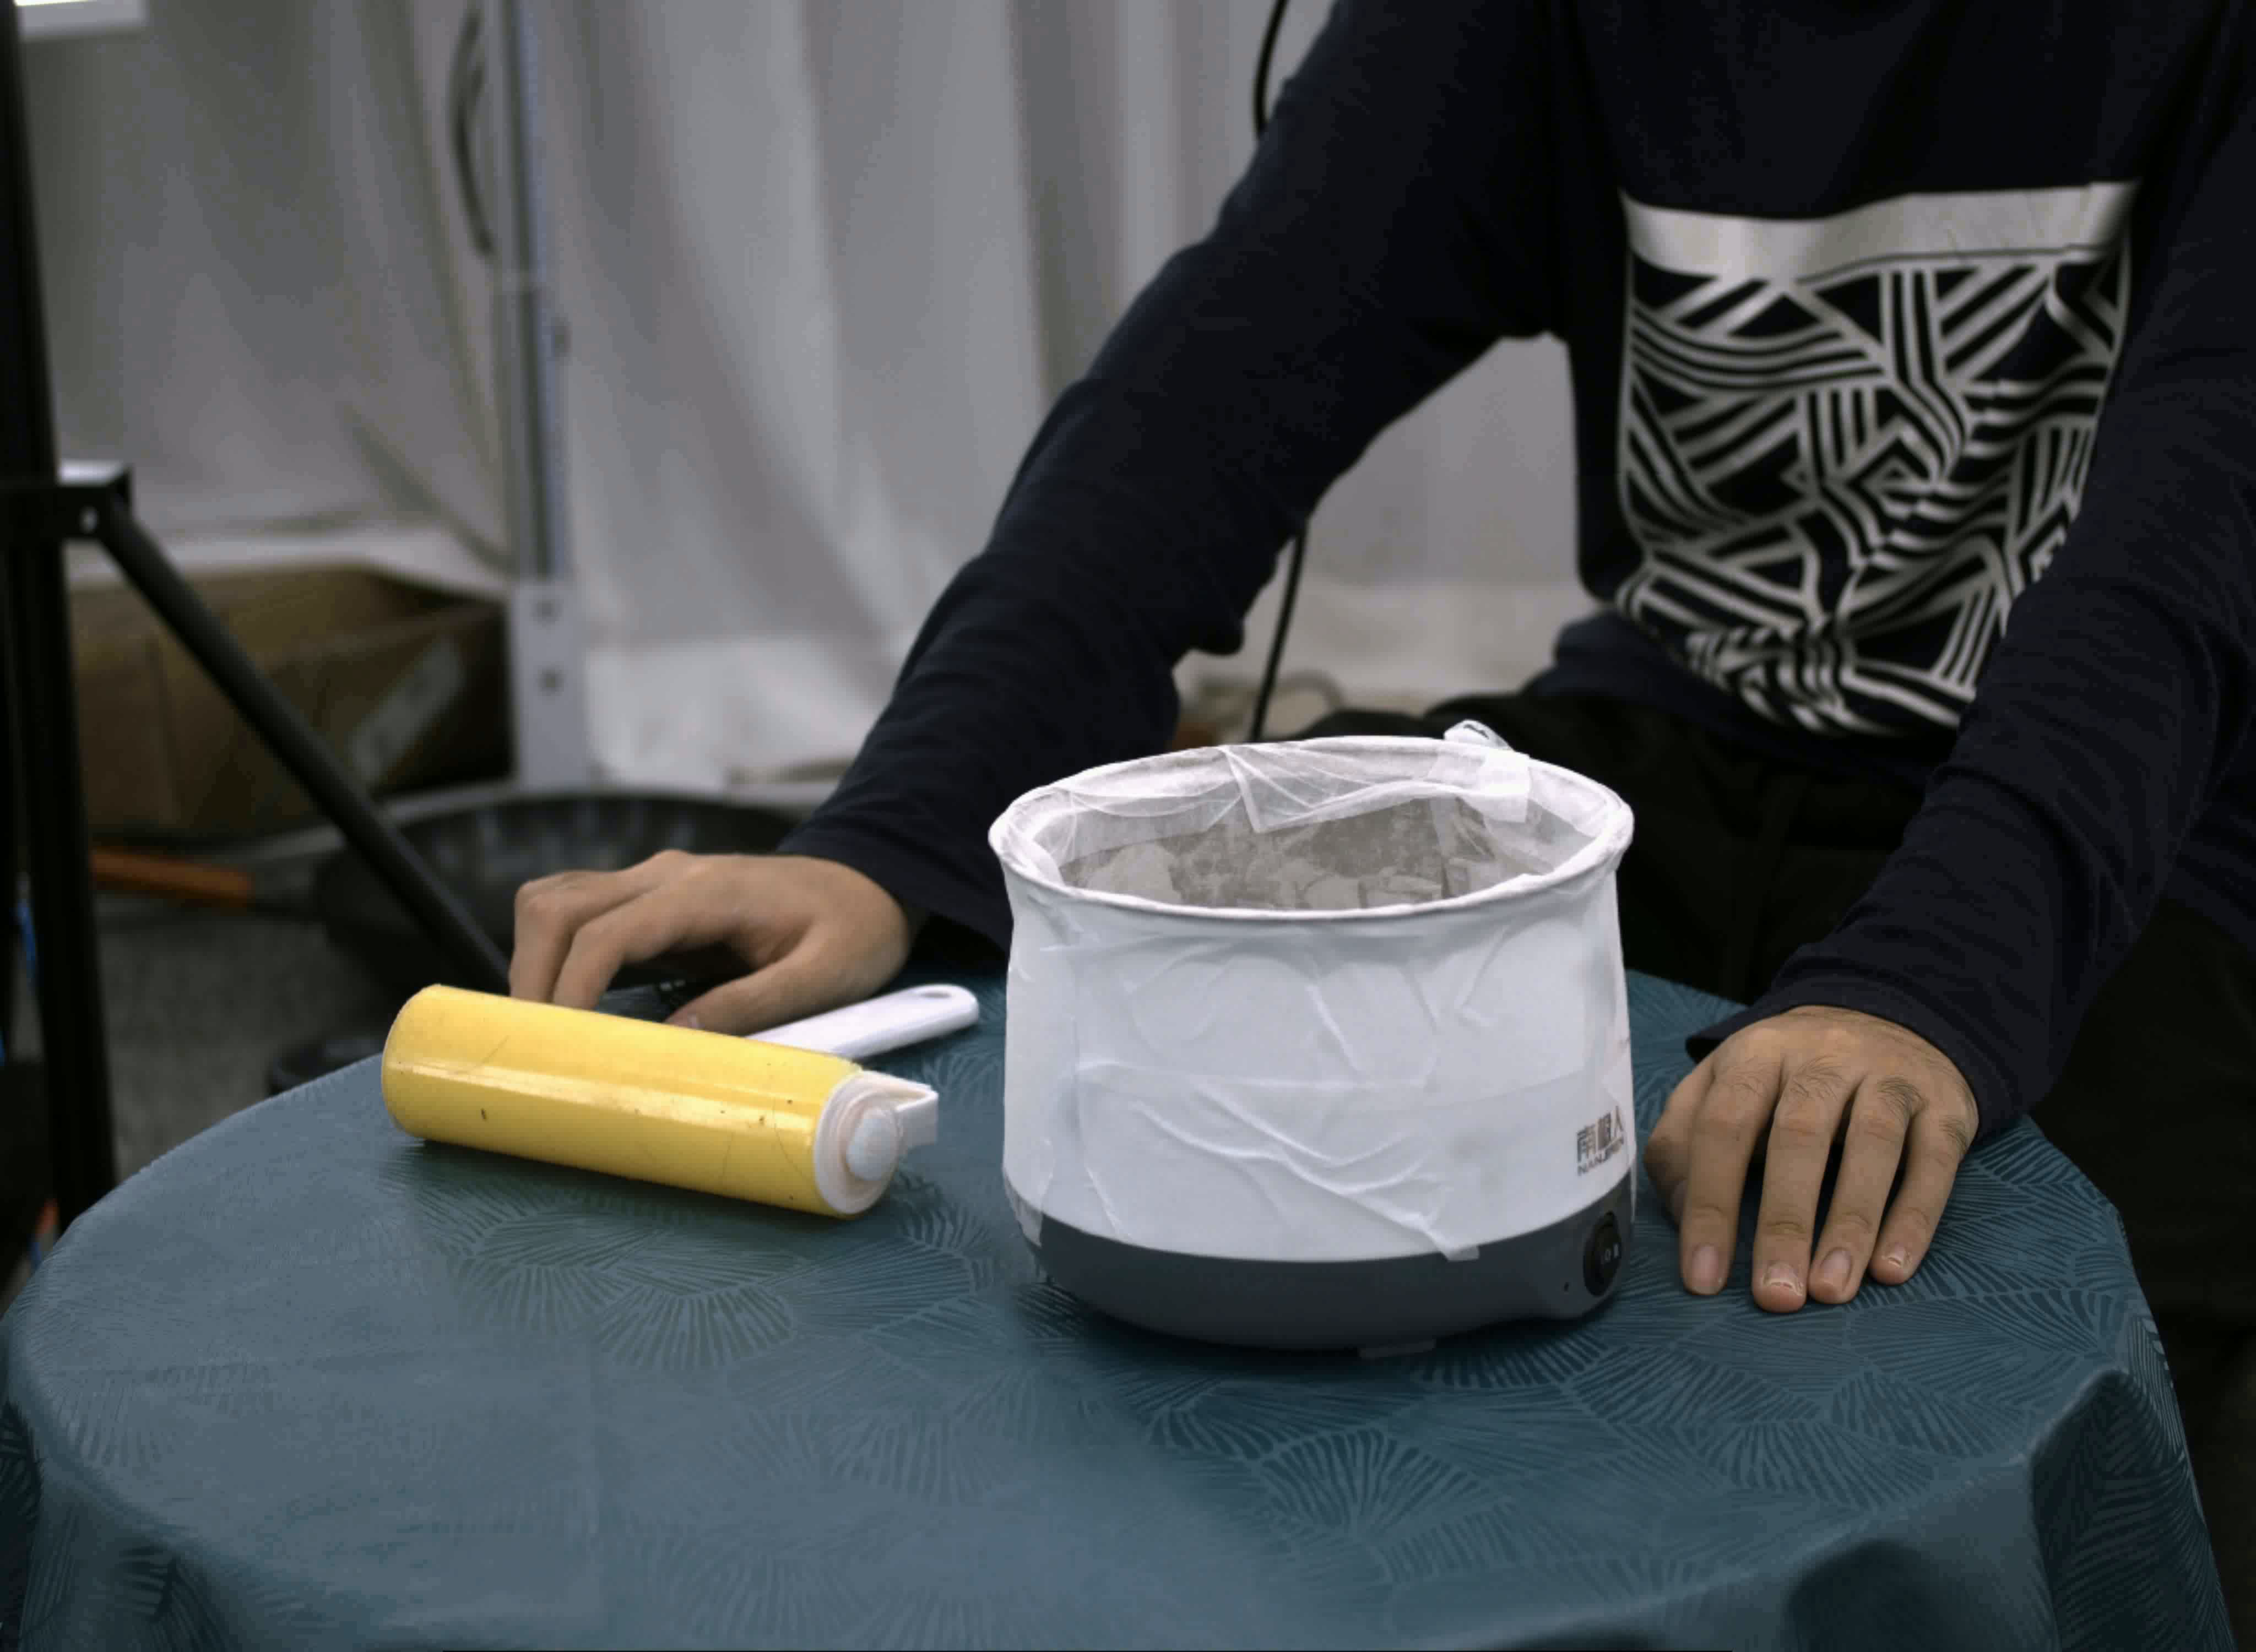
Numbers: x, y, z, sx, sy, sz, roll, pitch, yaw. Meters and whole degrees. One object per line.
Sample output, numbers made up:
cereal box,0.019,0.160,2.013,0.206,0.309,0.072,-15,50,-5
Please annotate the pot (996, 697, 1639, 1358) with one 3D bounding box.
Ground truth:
pot,0.066,0.049,1.494,0.182,0.136,0.230,8,21,28

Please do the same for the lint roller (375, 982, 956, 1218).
lint roller,-0.111,0.063,1.648,0.177,0.051,0.188,8,20,31
